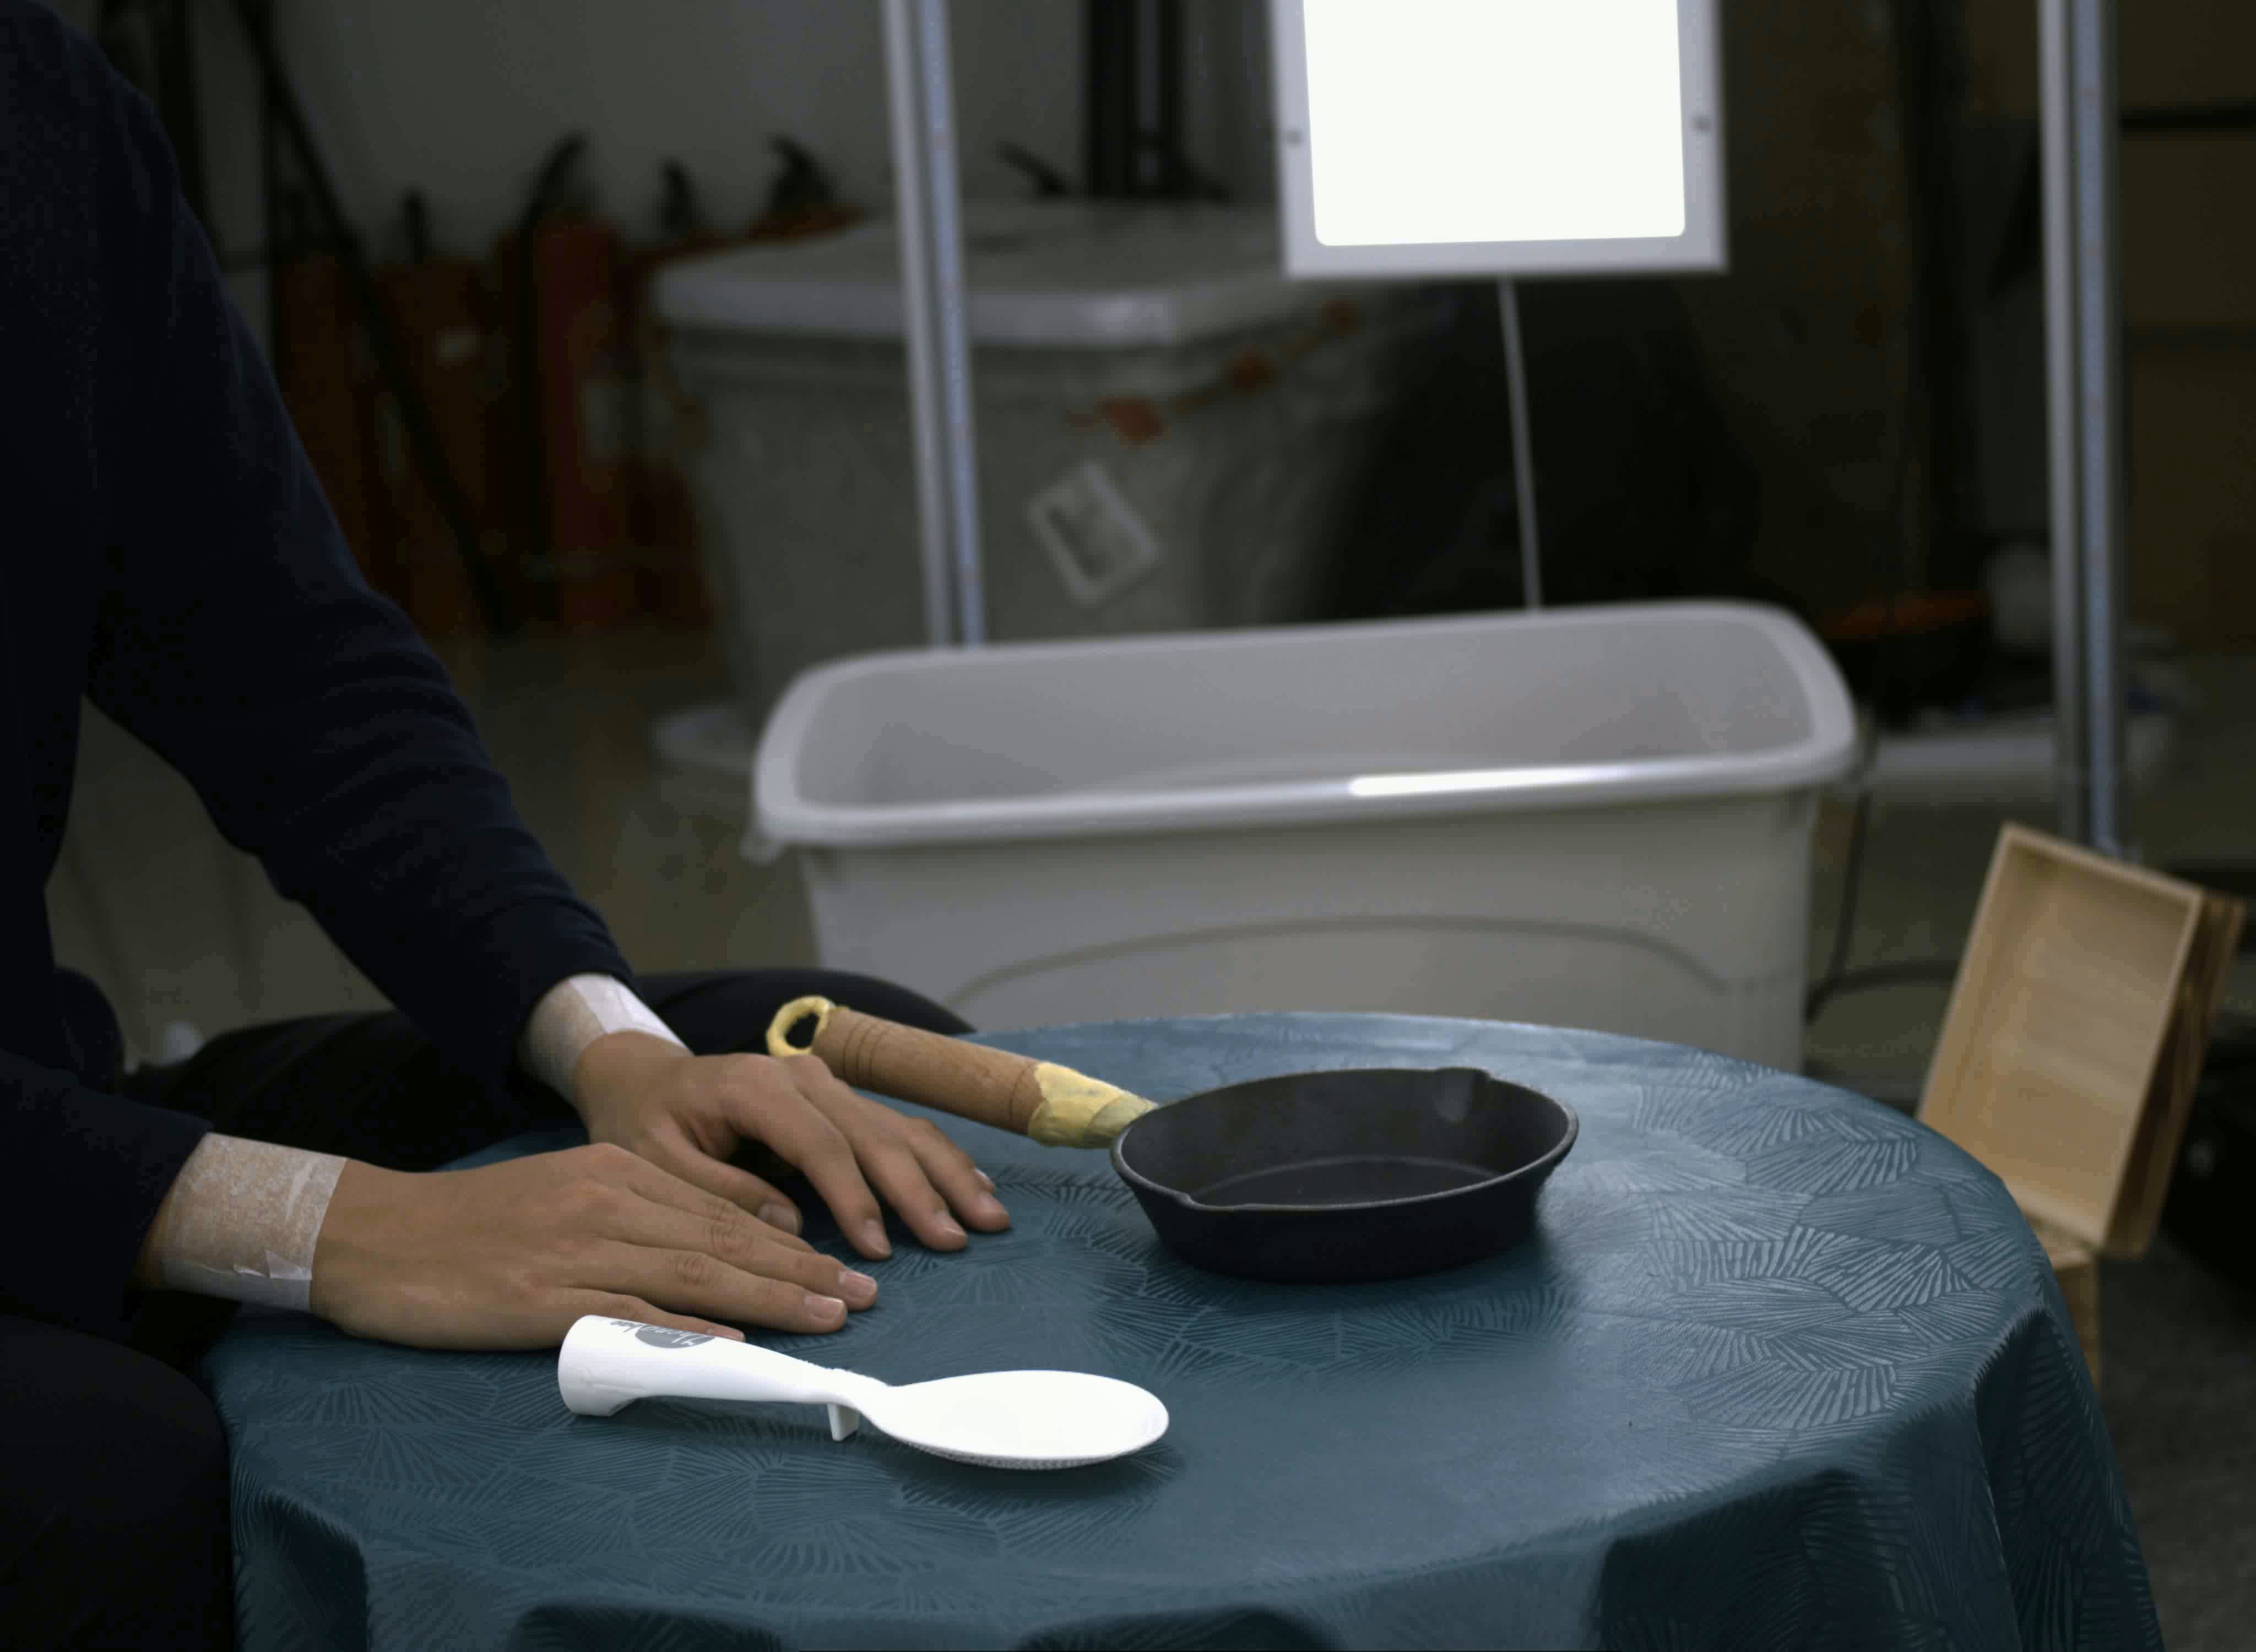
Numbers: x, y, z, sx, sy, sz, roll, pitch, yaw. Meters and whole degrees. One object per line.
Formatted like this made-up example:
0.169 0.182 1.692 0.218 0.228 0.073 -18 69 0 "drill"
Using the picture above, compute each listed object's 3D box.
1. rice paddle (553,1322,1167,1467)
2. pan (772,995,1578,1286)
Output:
-0.082 0.173 1.679 0.209 0.029 0.067 2 17 29 "rice paddle"
0.006 0.102 1.889 0.331 0.050 0.164 8 19 38 "pan"
